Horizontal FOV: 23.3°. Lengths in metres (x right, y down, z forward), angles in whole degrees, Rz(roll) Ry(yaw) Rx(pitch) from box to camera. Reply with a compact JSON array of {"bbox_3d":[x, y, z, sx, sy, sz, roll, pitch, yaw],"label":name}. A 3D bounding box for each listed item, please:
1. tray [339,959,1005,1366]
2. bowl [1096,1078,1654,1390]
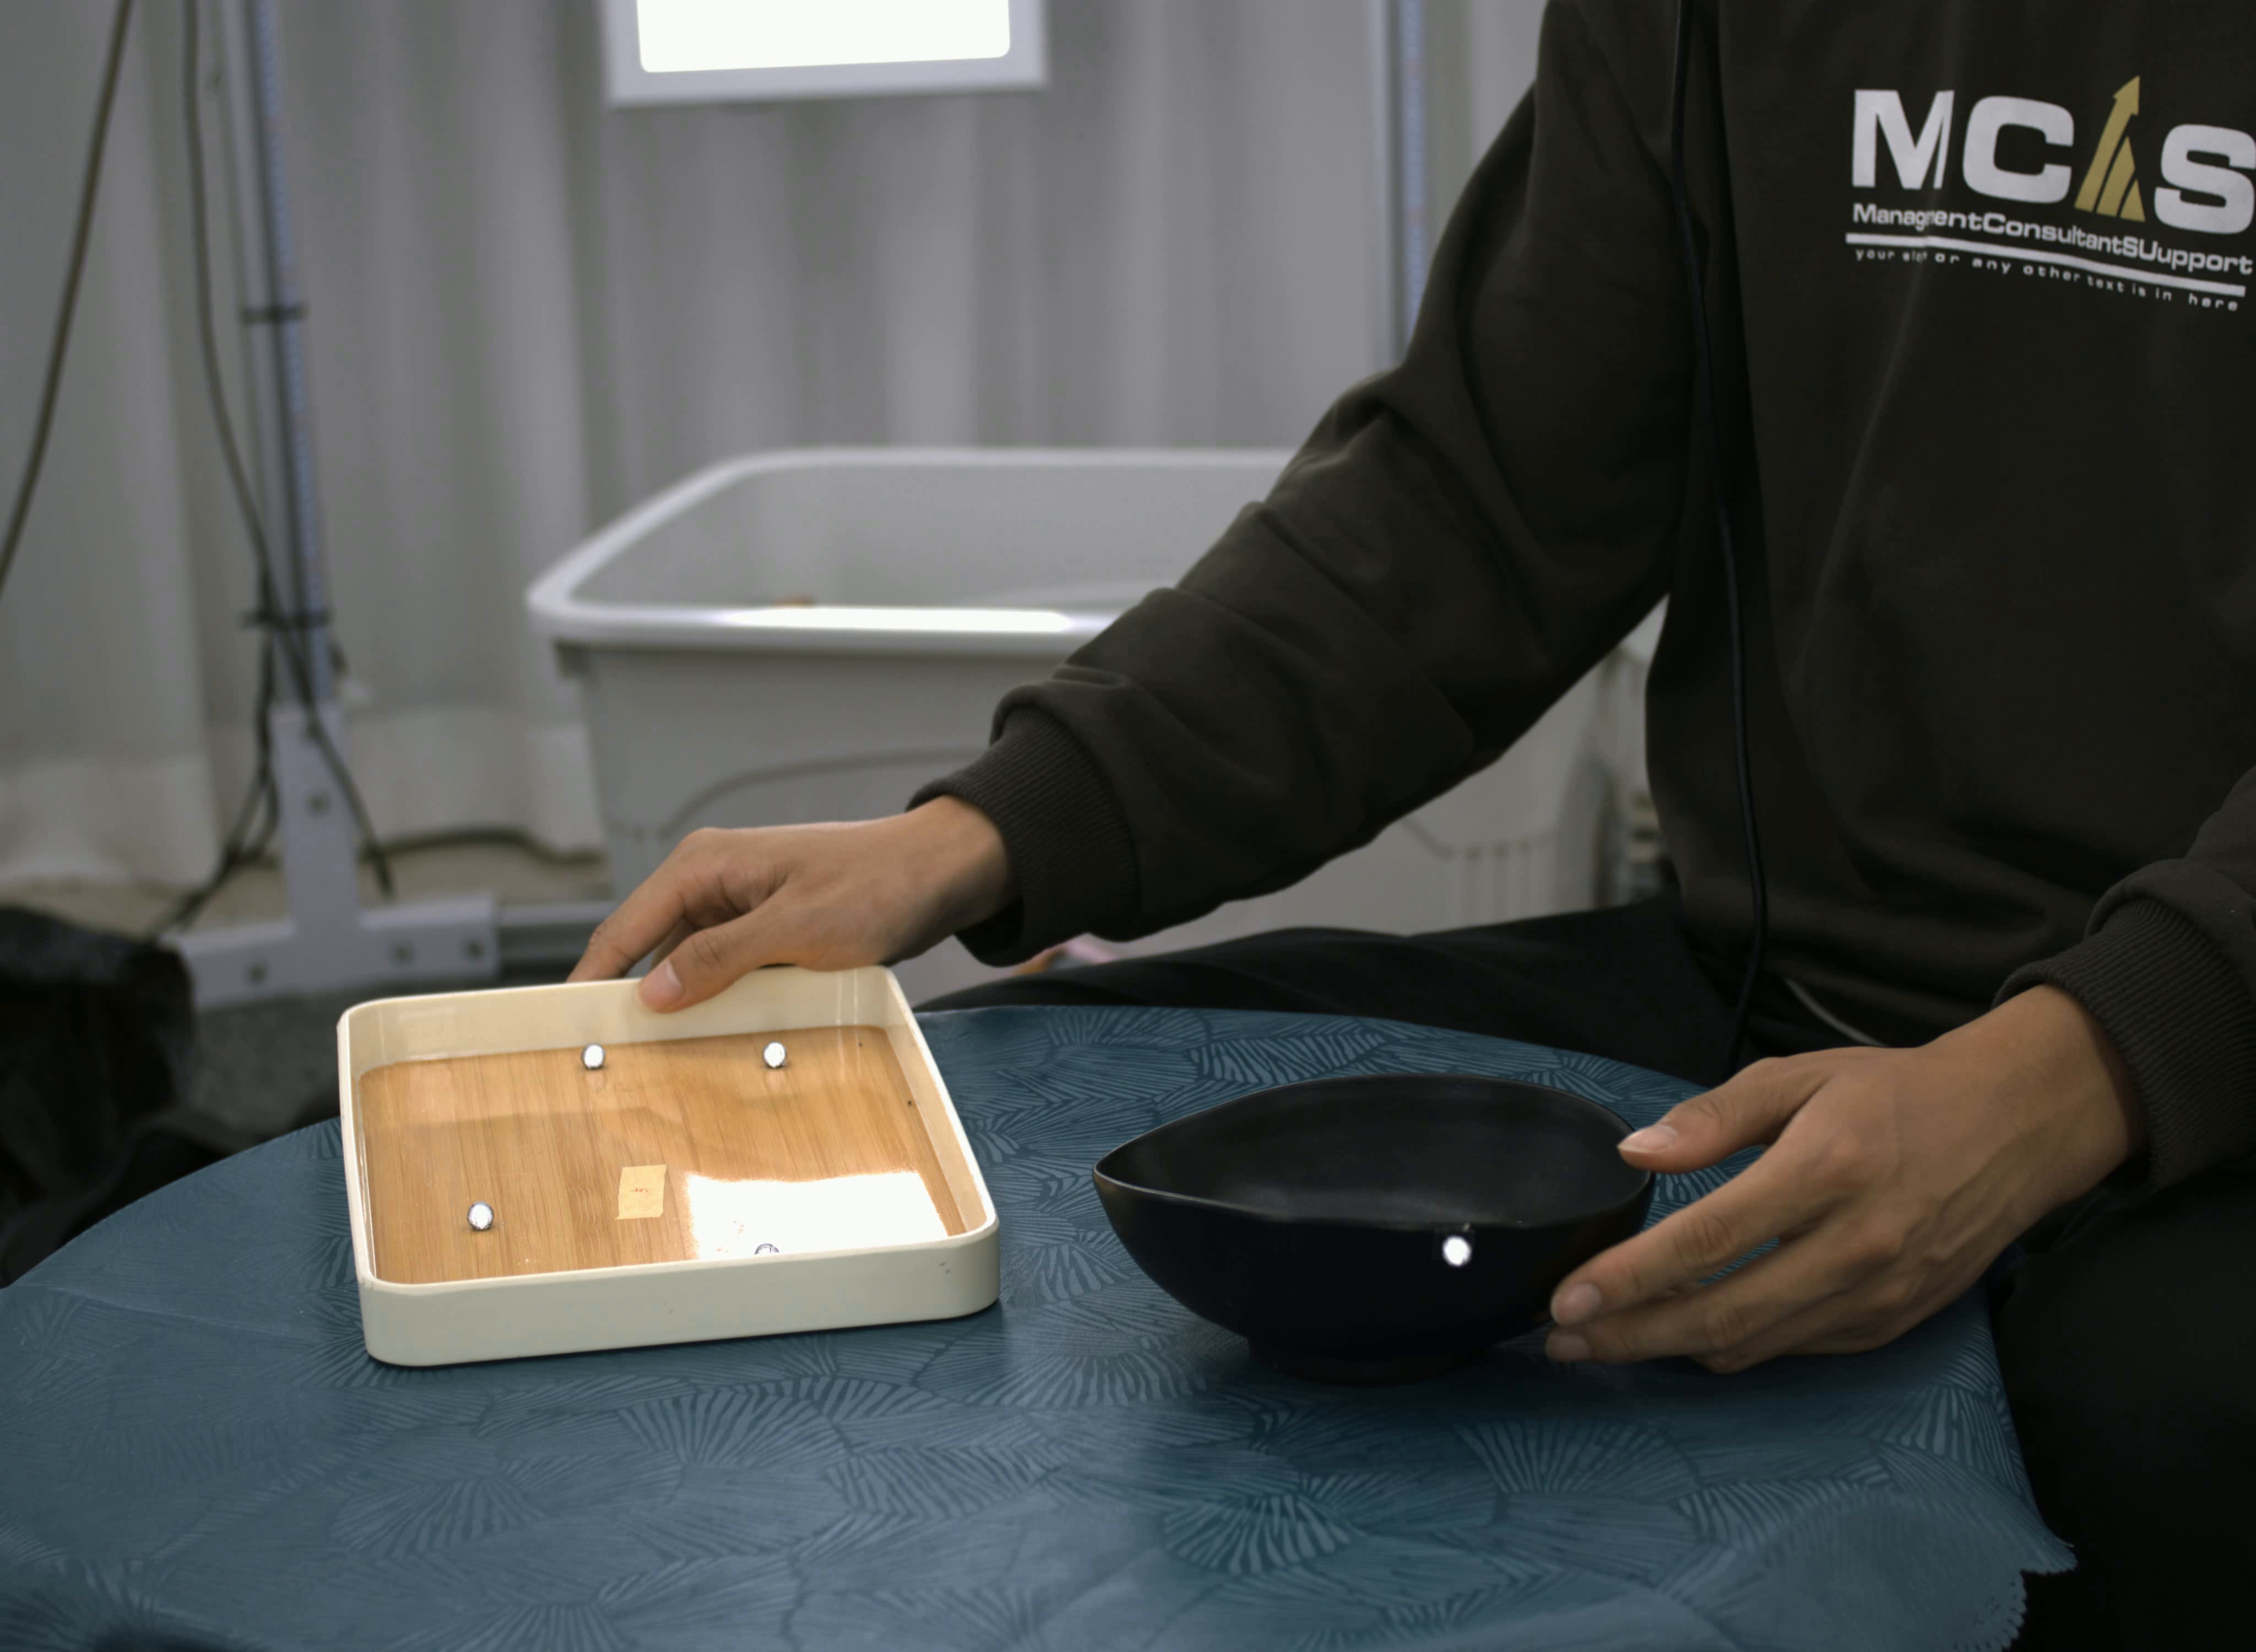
[{"bbox_3d":[-0.151,0.103,1.737,0.191,0.027,0.302,-5,15,-8],"label":"tray"},{"bbox_3d":[0.069,0.121,1.565,0.171,0.066,0.137,4,15,31],"label":"bowl"}]
